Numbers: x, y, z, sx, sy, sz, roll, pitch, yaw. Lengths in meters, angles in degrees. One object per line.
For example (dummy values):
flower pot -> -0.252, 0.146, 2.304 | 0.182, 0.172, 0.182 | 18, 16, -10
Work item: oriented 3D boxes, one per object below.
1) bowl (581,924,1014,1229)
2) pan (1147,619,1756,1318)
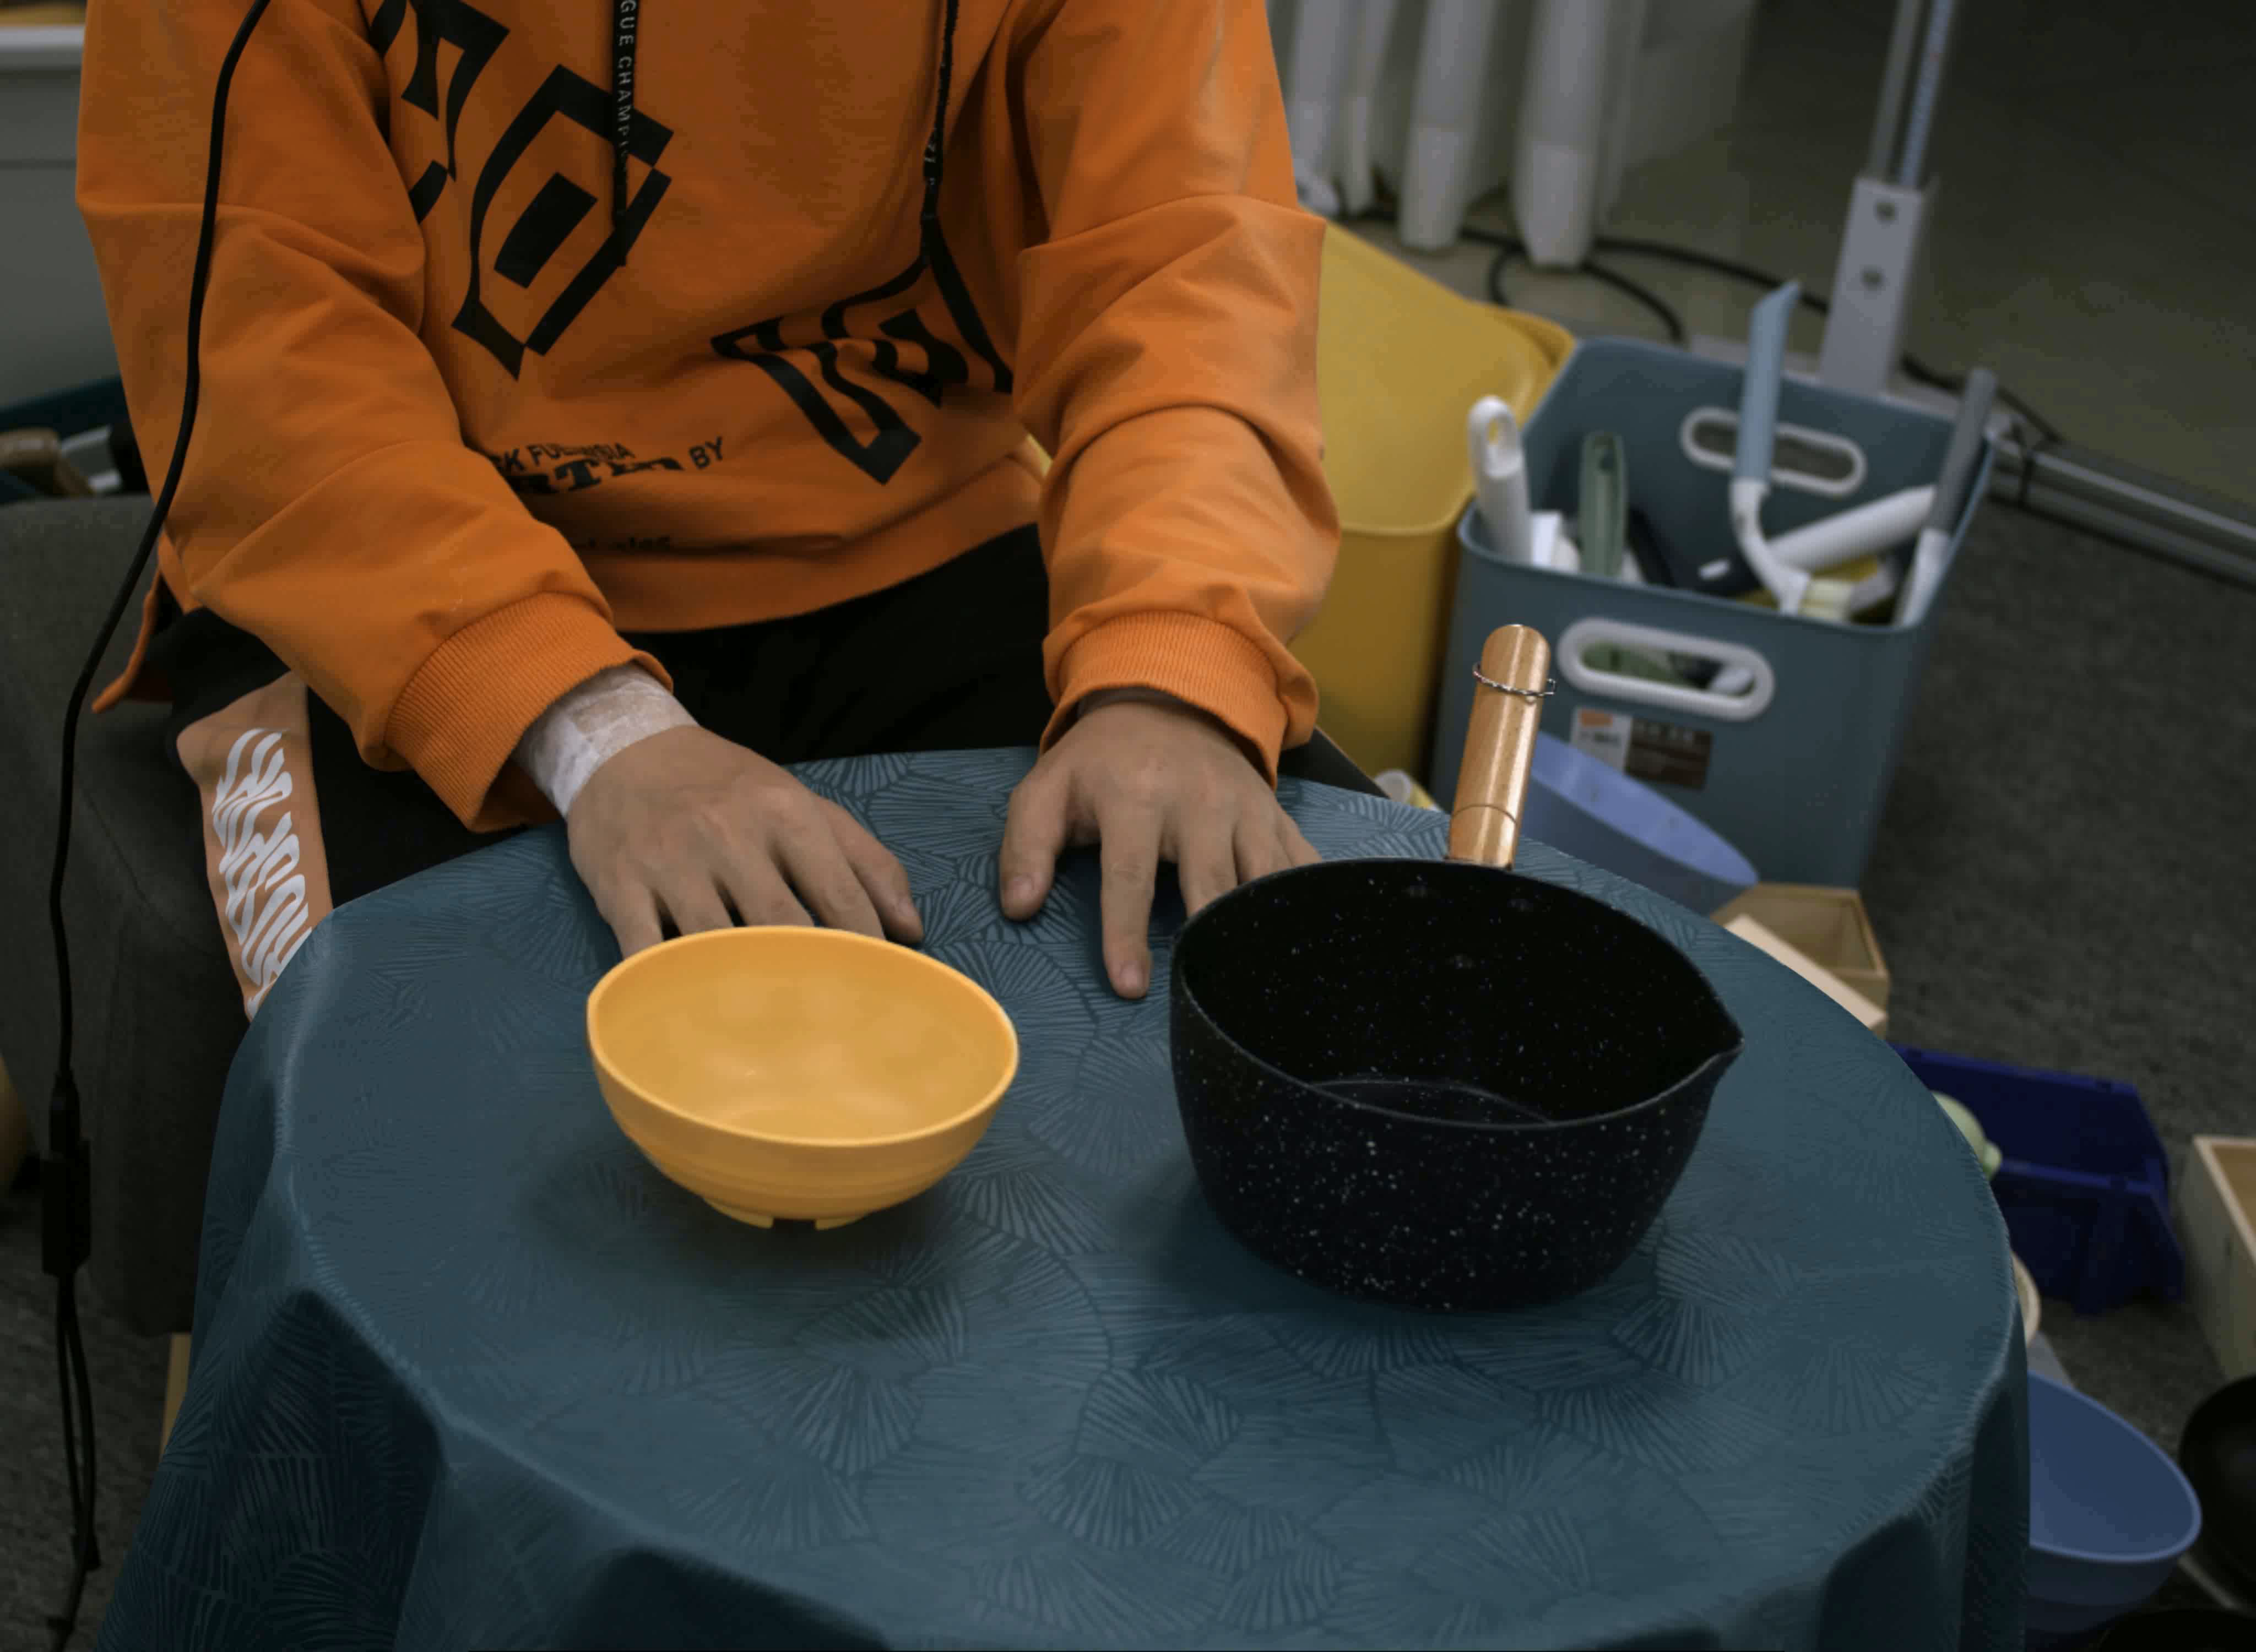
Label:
bowl -> -0.113, 0.093, 1.774 | 0.145, 0.060, 0.146 | 6, 26, -3
pan -> 0.116, 0.045, 1.864 | 0.207, 0.108, 0.344 | 8, 28, 5
